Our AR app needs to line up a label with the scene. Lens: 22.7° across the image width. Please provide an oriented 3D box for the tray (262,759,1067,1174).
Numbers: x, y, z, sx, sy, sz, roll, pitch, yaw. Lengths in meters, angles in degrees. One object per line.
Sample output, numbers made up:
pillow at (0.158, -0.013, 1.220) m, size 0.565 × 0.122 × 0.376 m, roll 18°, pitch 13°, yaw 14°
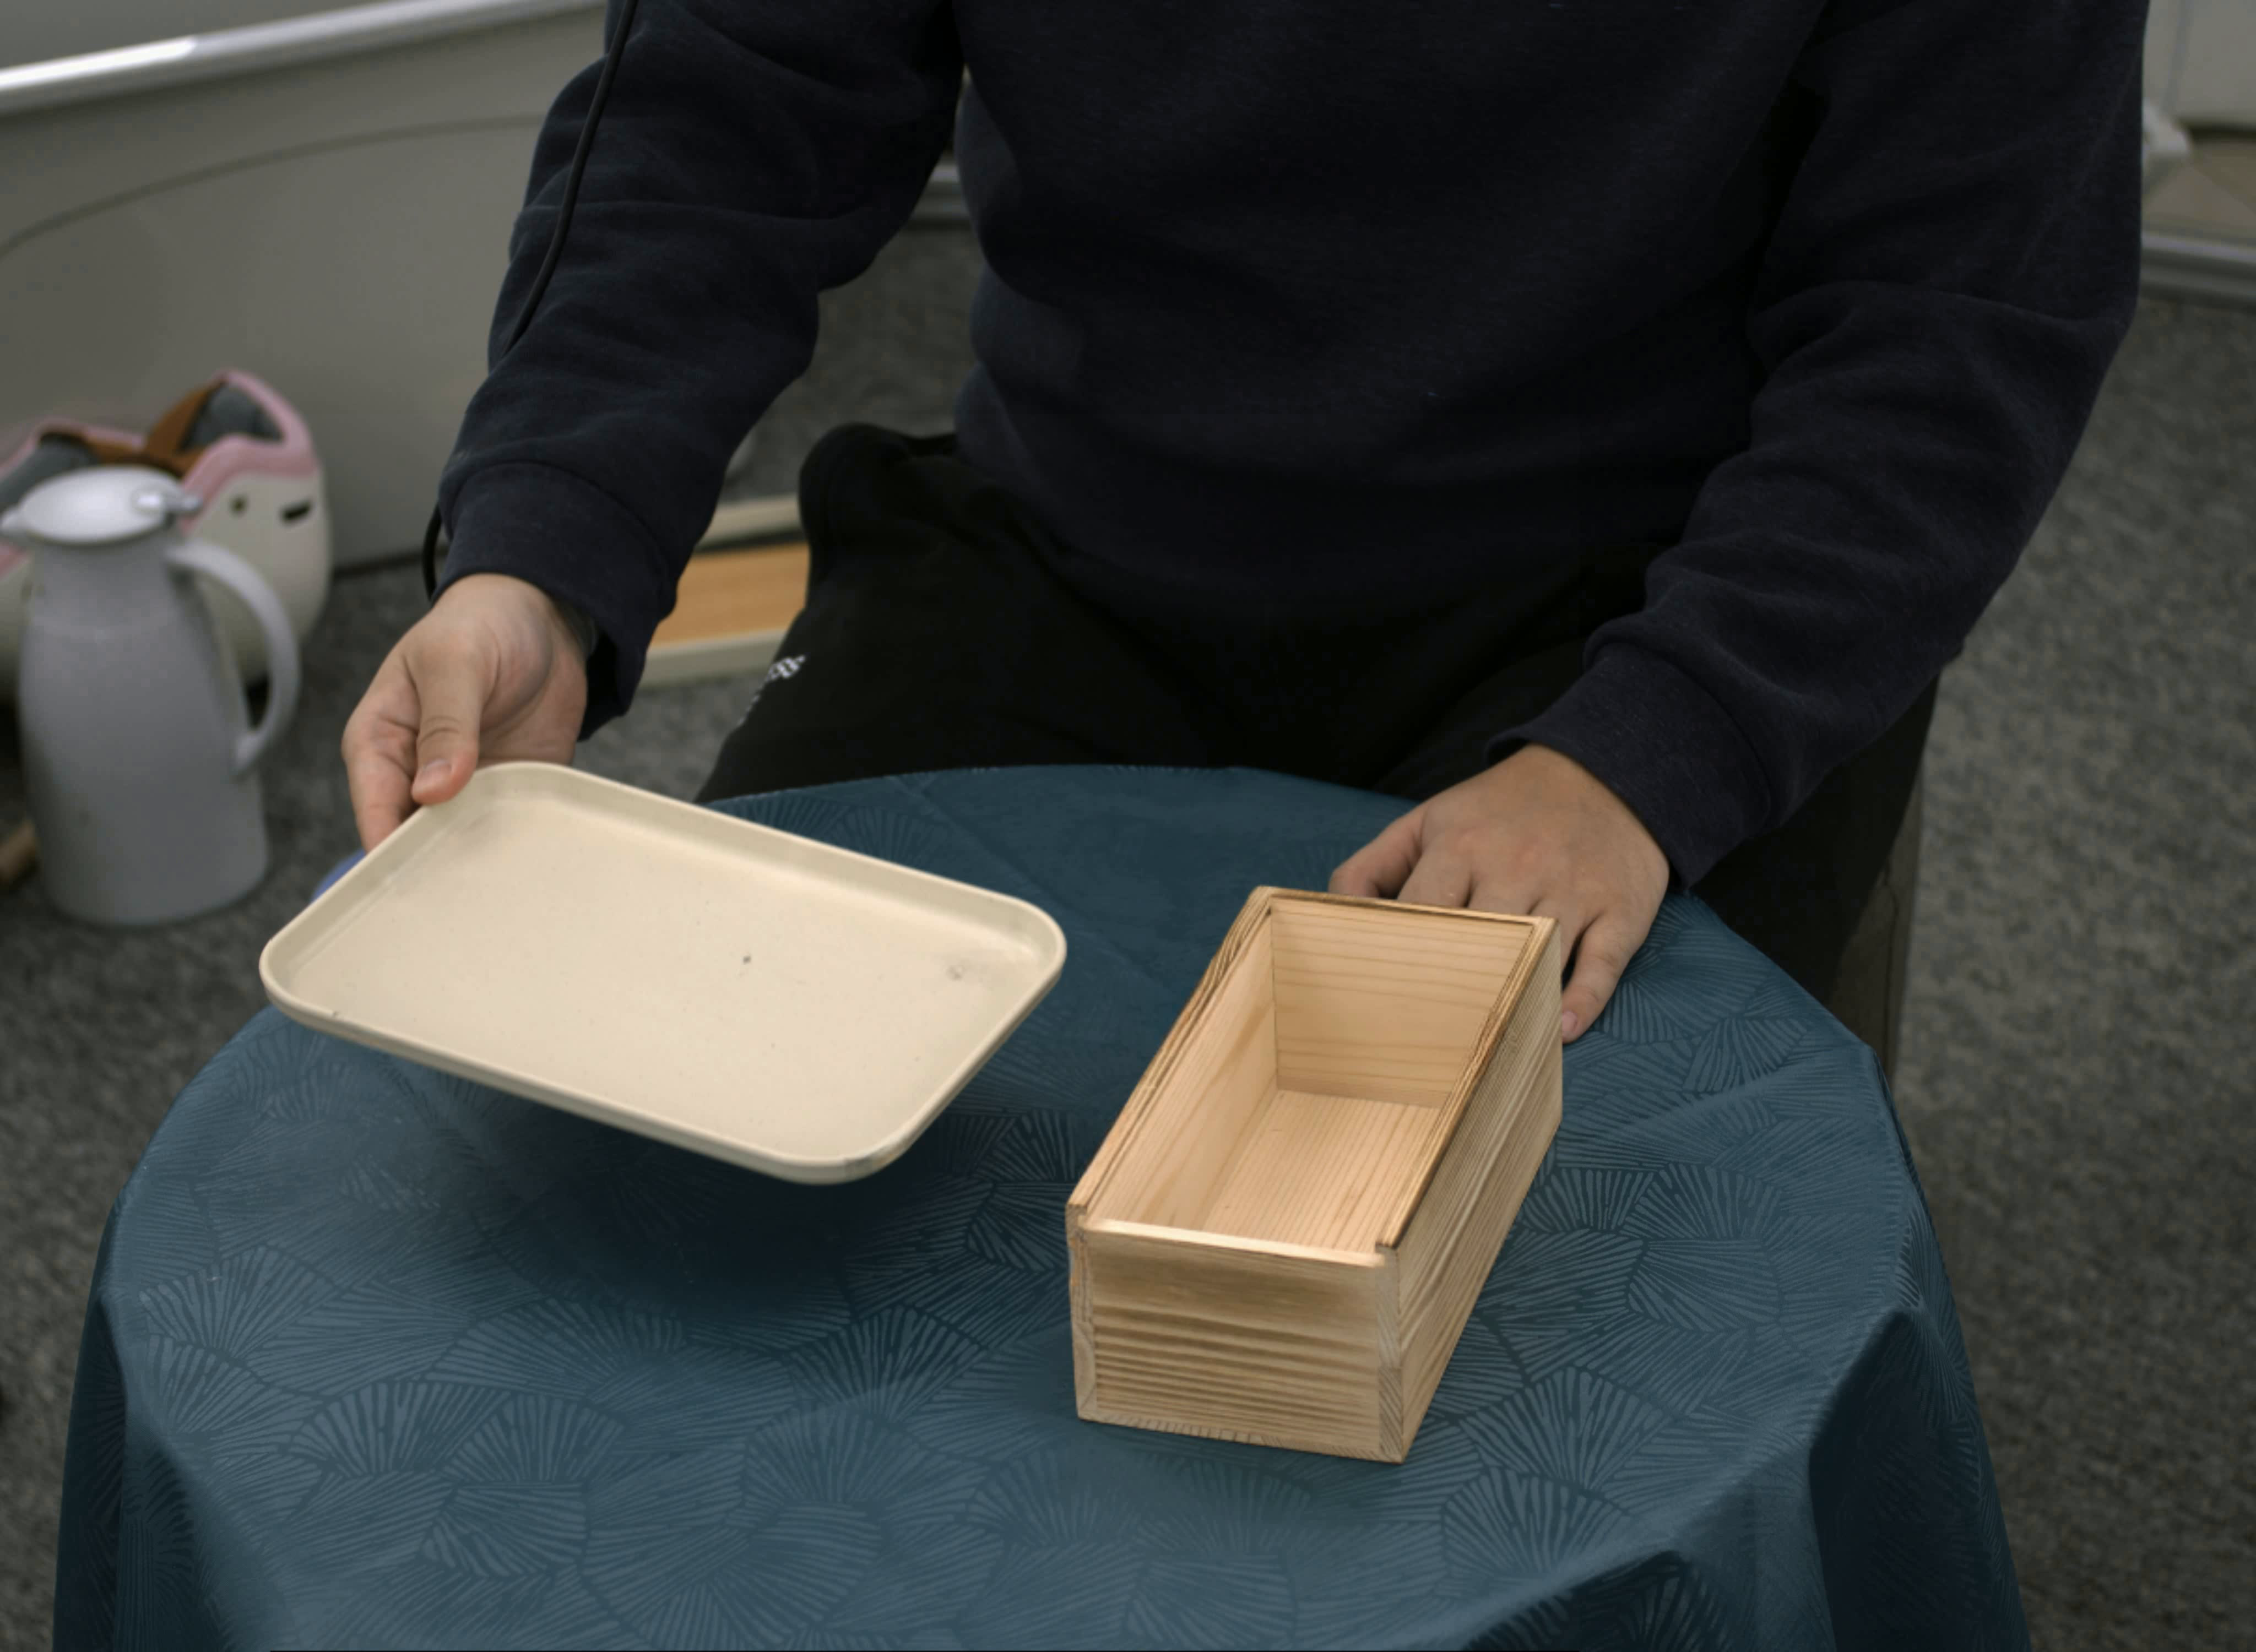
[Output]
tray at (-0.153, 0.046, 1.867) m, size 0.238 × 0.017 × 0.174 m, roll 15°, pitch 33°, yaw 20°

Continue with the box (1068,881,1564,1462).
box at (0.064, 0.107, 1.802) m, size 0.107 × 0.079 × 0.215 m, roll 6°, pitch 28°, yaw 16°
